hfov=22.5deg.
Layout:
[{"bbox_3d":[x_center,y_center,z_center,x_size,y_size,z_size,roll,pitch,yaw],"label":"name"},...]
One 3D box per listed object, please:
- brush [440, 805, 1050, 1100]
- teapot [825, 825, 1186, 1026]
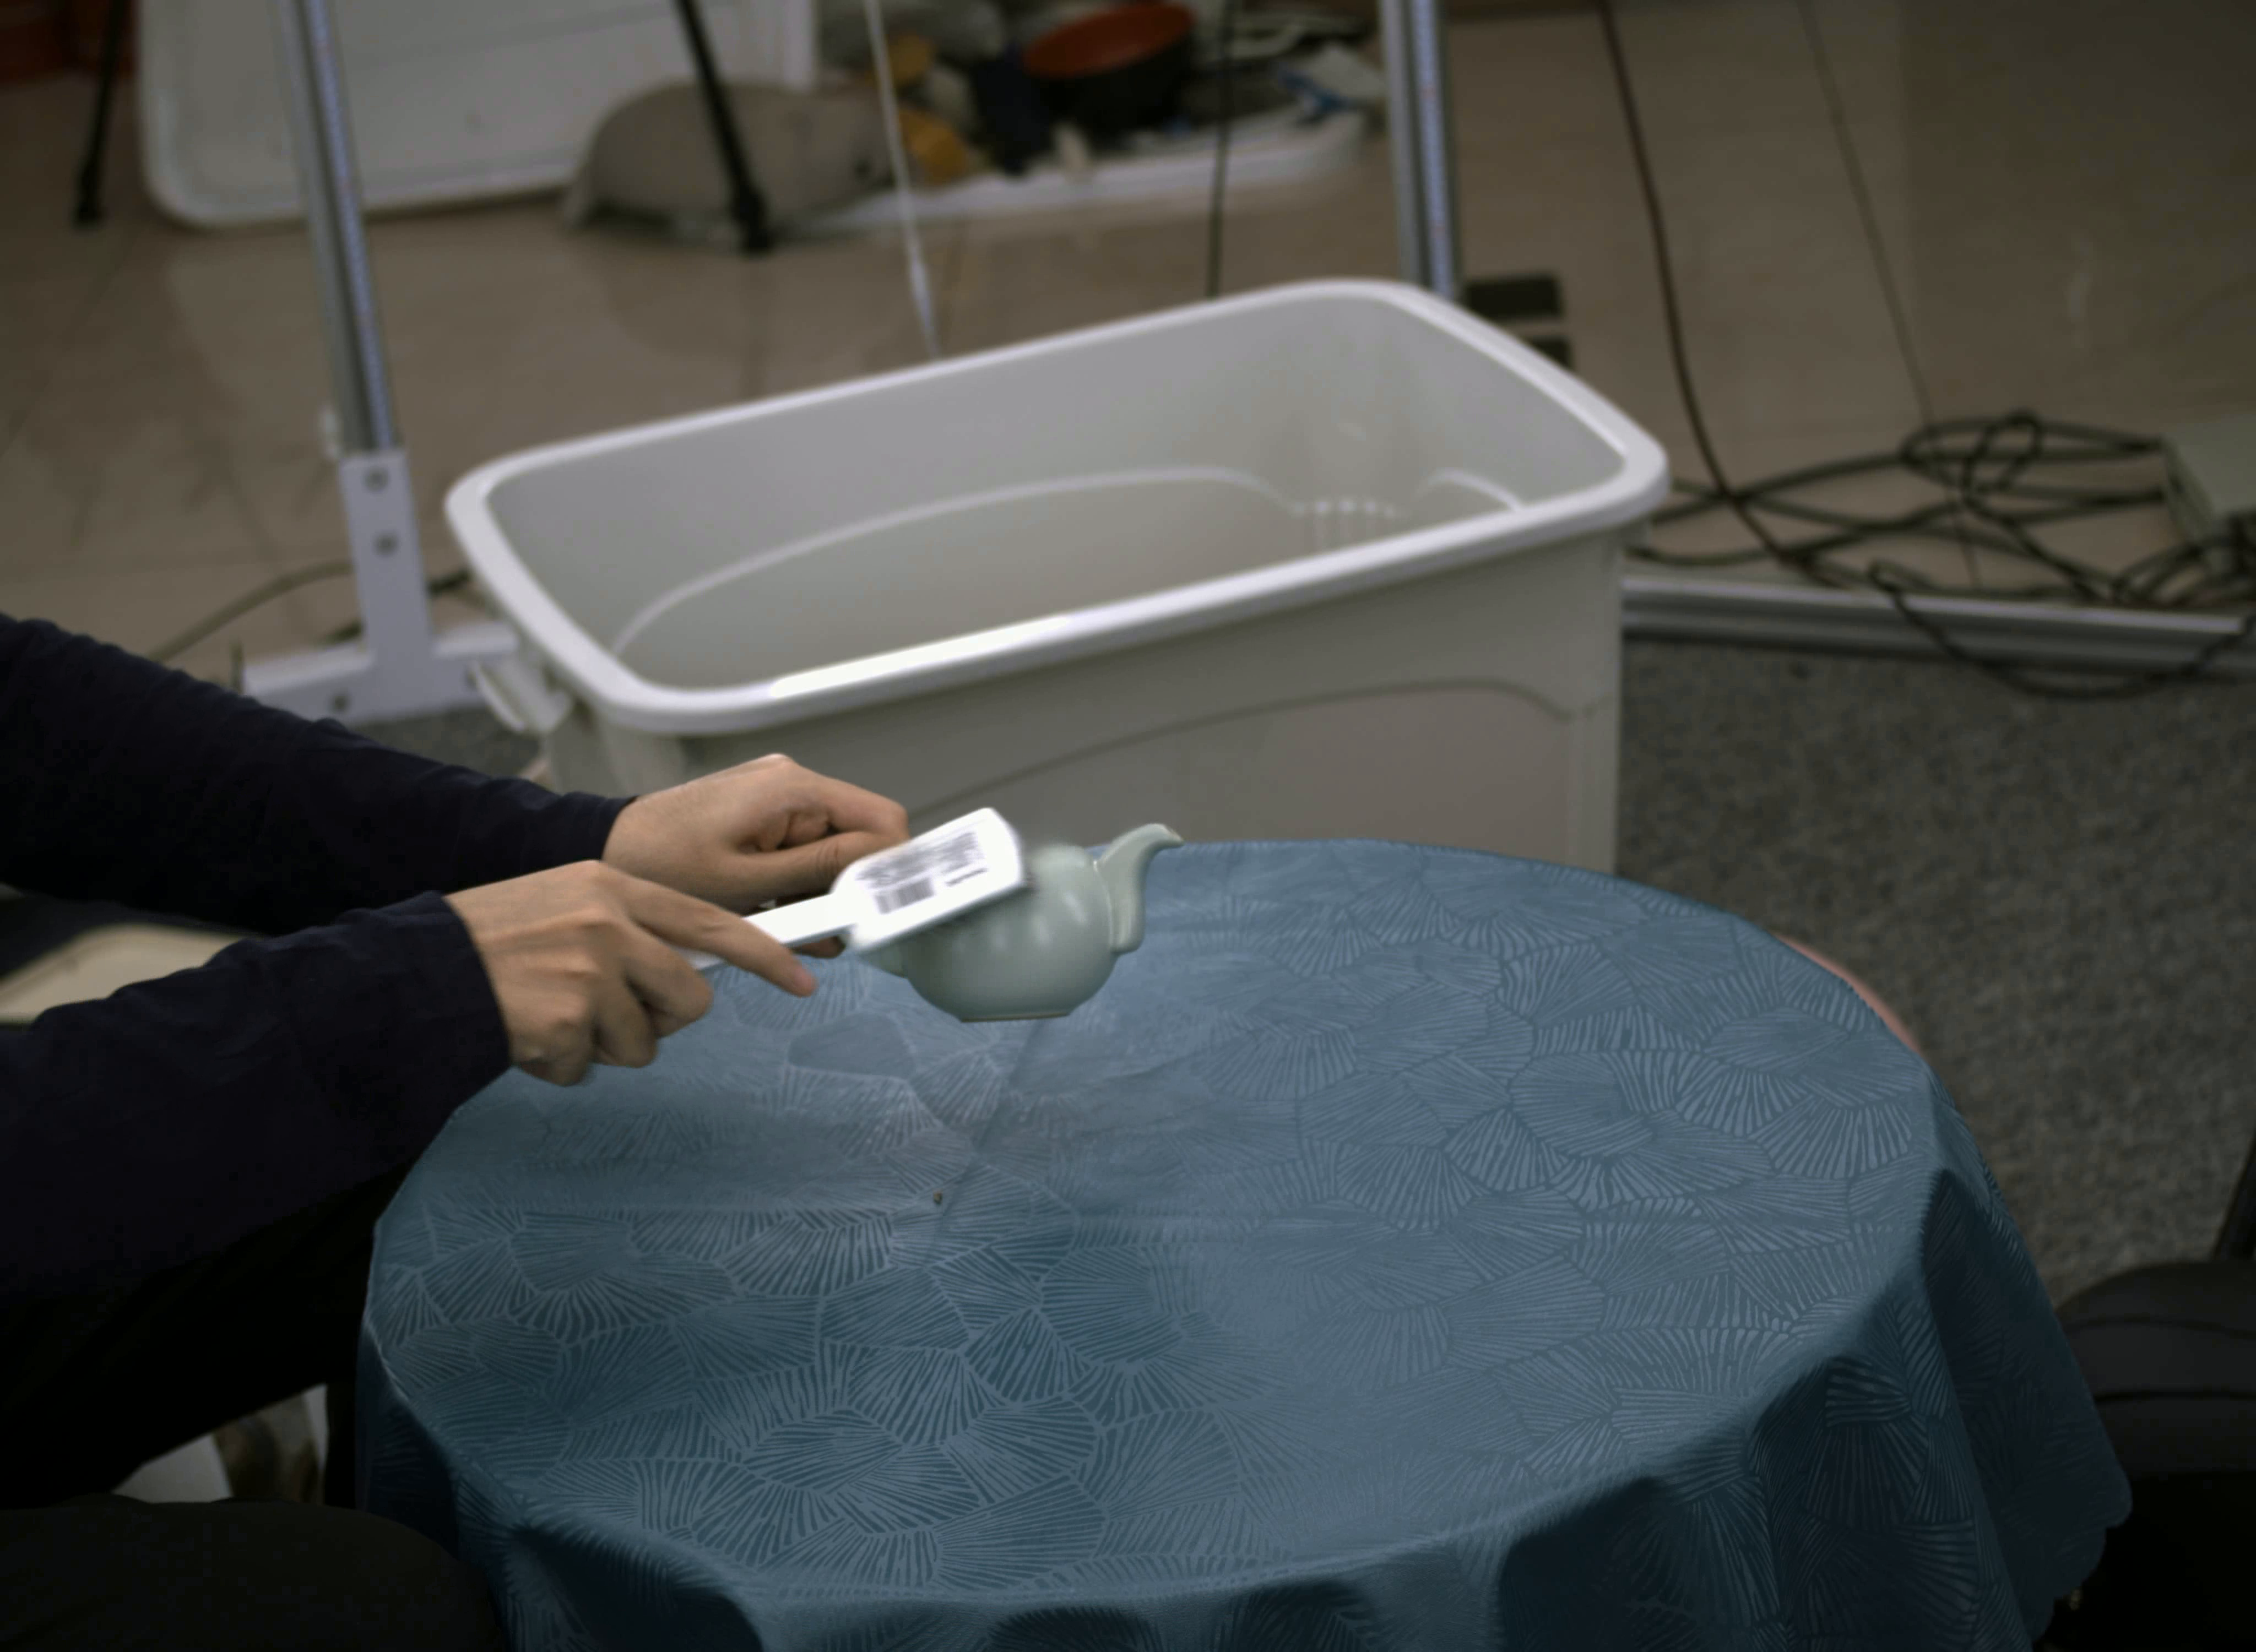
[{"bbox_3d":[-0.142,0.050,2.101,0.242,0.034,0.050,-23,-6,-12],"label":"brush"},{"bbox_3d":[-0.046,0.039,2.179,0.143,0.075,0.088,-2,1,15],"label":"teapot"}]
